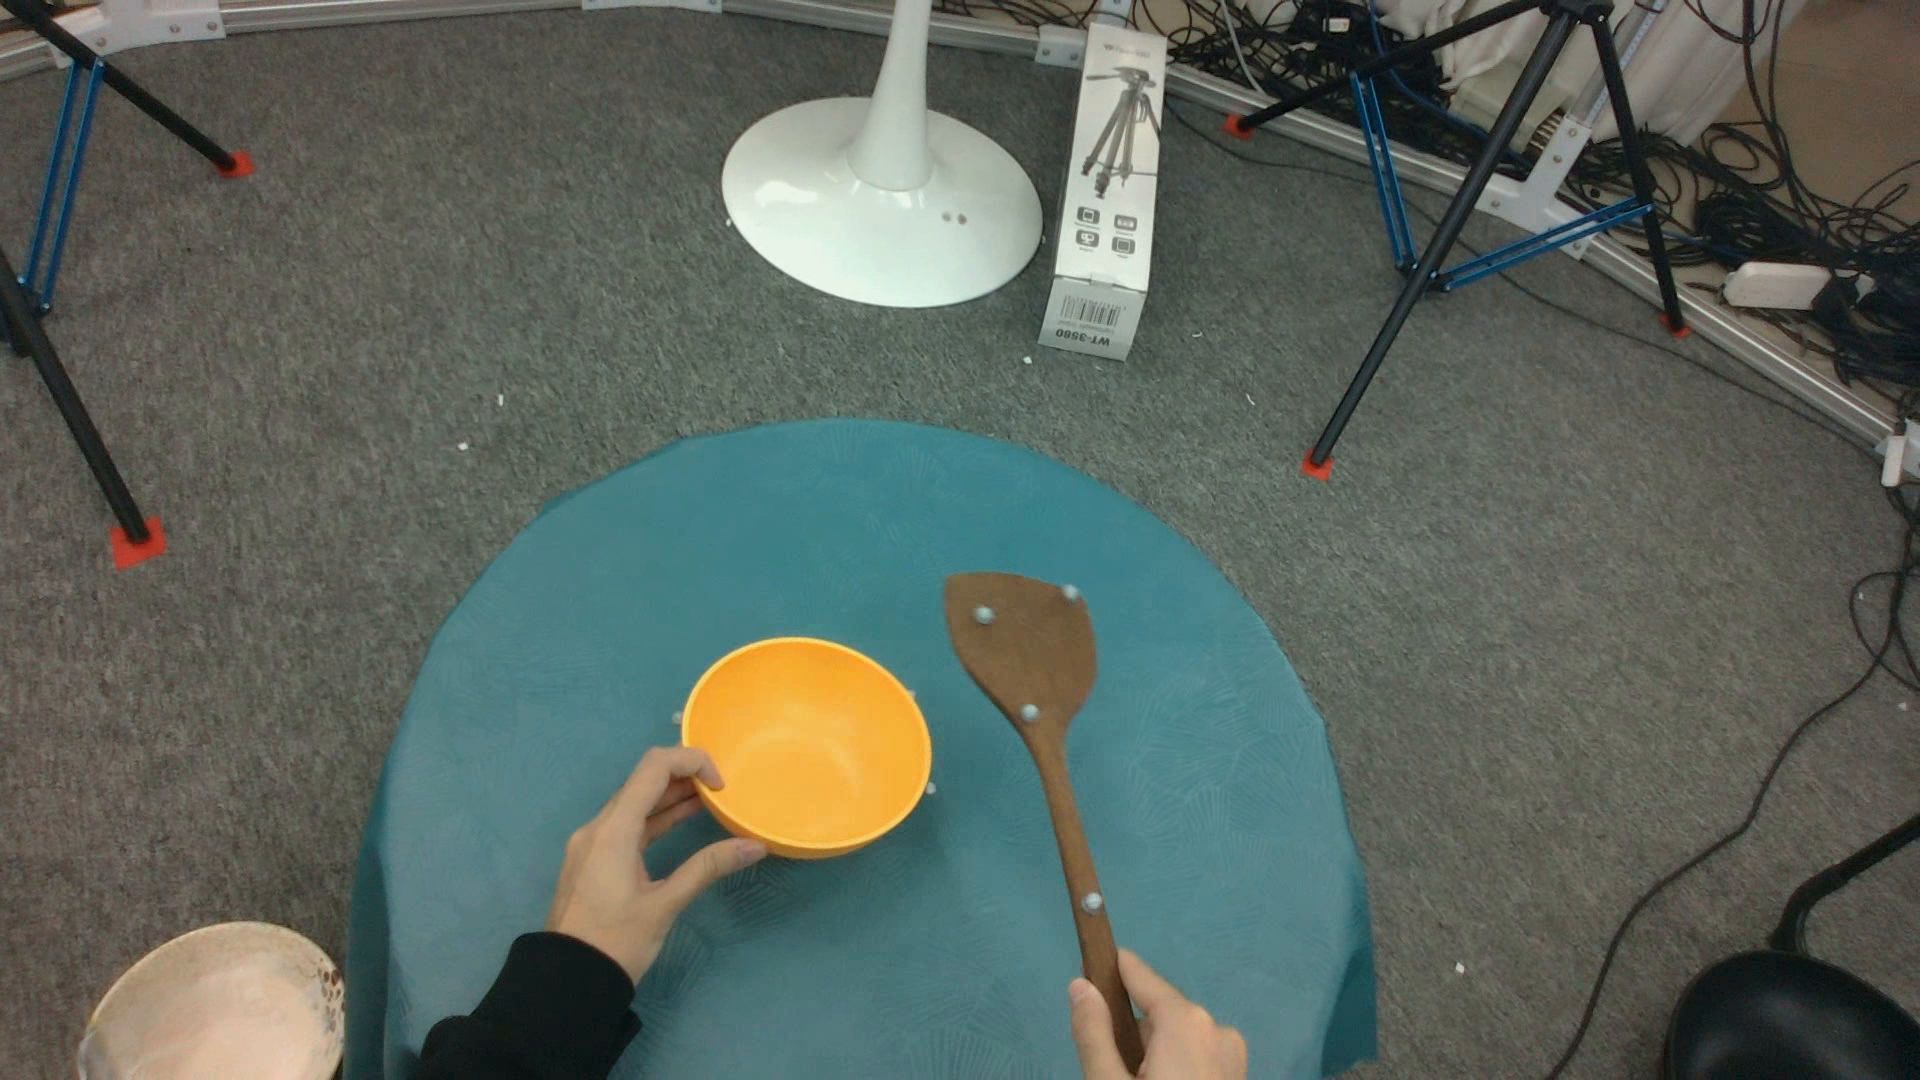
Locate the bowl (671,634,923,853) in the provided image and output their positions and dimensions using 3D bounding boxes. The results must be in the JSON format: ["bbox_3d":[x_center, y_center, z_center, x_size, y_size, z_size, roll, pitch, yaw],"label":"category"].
[{"bbox_3d":[-0.098,0.128,0.807,0.145,0.060,0.146,10,46,-10],"label":"bowl"}]

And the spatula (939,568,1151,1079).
[{"bbox_3d":[0.056,0.161,0.690,0.096,0.015,0.387,10,44,-23],"label":"spatula"}]
